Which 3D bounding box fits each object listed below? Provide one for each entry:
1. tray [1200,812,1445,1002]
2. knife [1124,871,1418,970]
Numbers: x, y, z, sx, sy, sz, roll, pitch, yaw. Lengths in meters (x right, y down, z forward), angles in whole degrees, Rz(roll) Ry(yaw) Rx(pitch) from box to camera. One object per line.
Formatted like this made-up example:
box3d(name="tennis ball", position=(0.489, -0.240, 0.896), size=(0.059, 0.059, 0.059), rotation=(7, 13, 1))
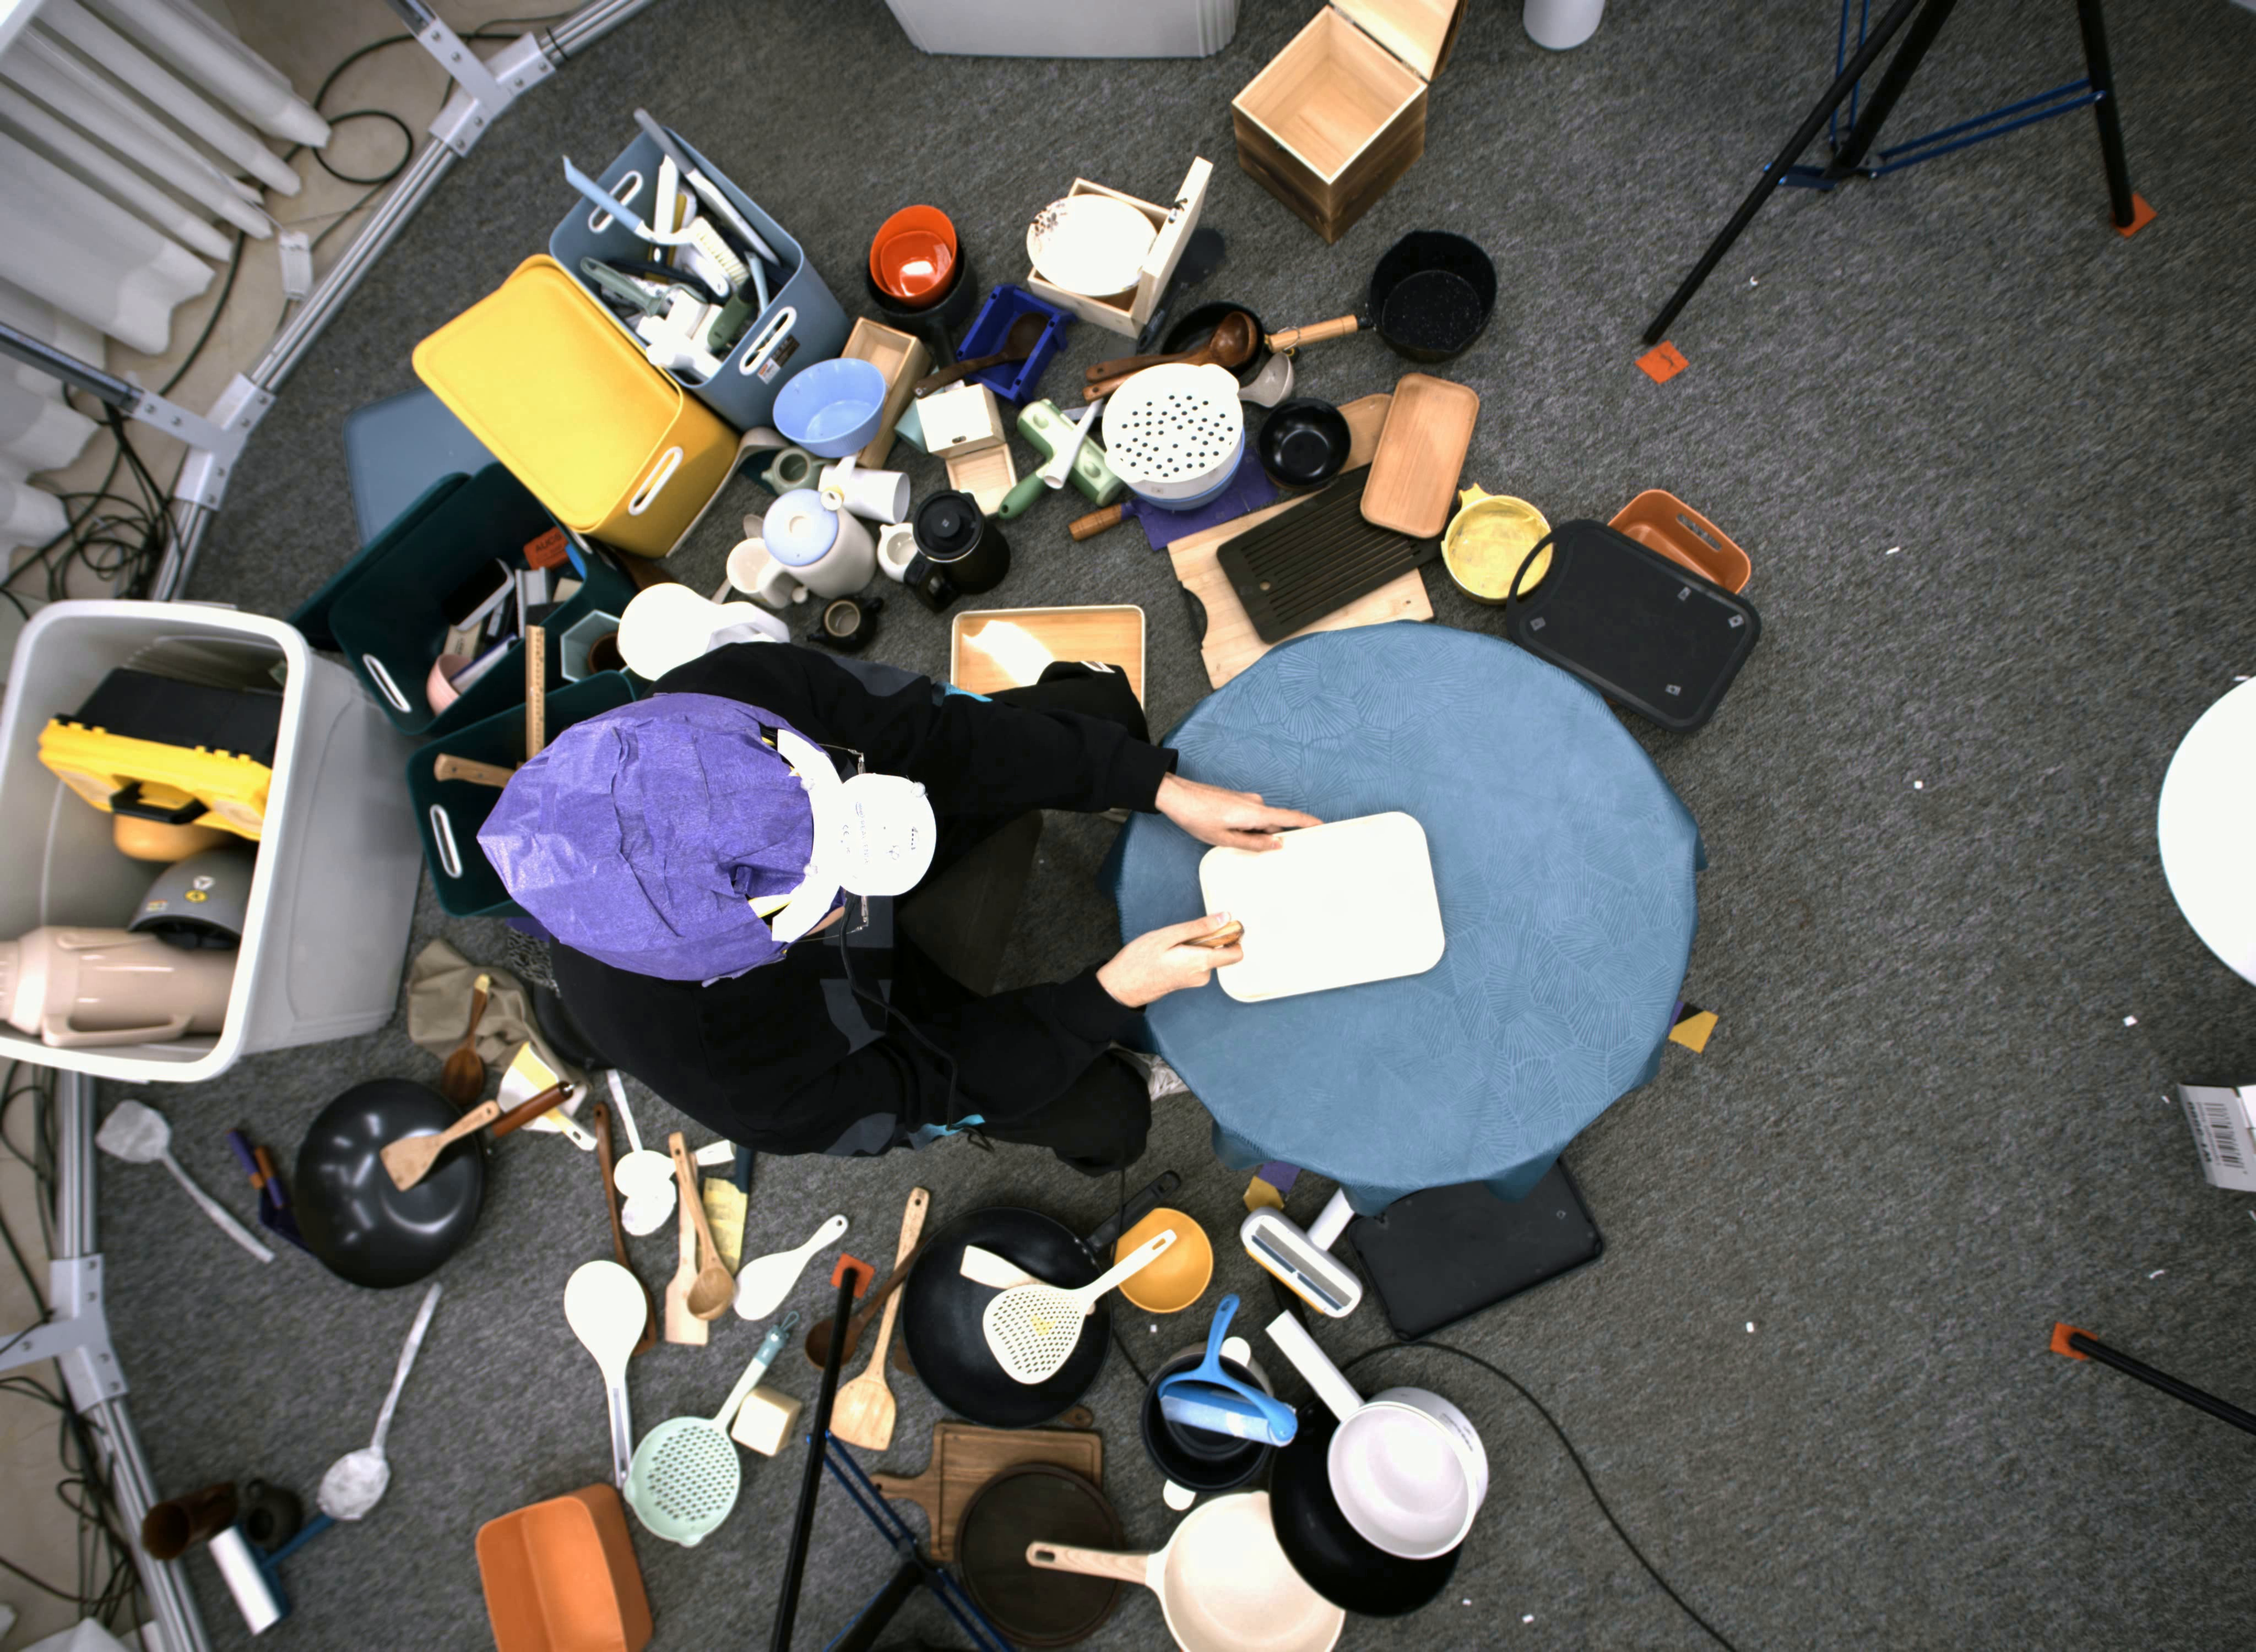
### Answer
box3d(name="tray", position=(0.203, 0.084, 1.451), size=(0.241, 0.017, 0.171), rotation=(-10, 92, 8))
box3d(name="knife", position=(0.146, 0.091, 1.408), size=(0.308, 0.092, 0.021), rotation=(-18, 87, 11))
